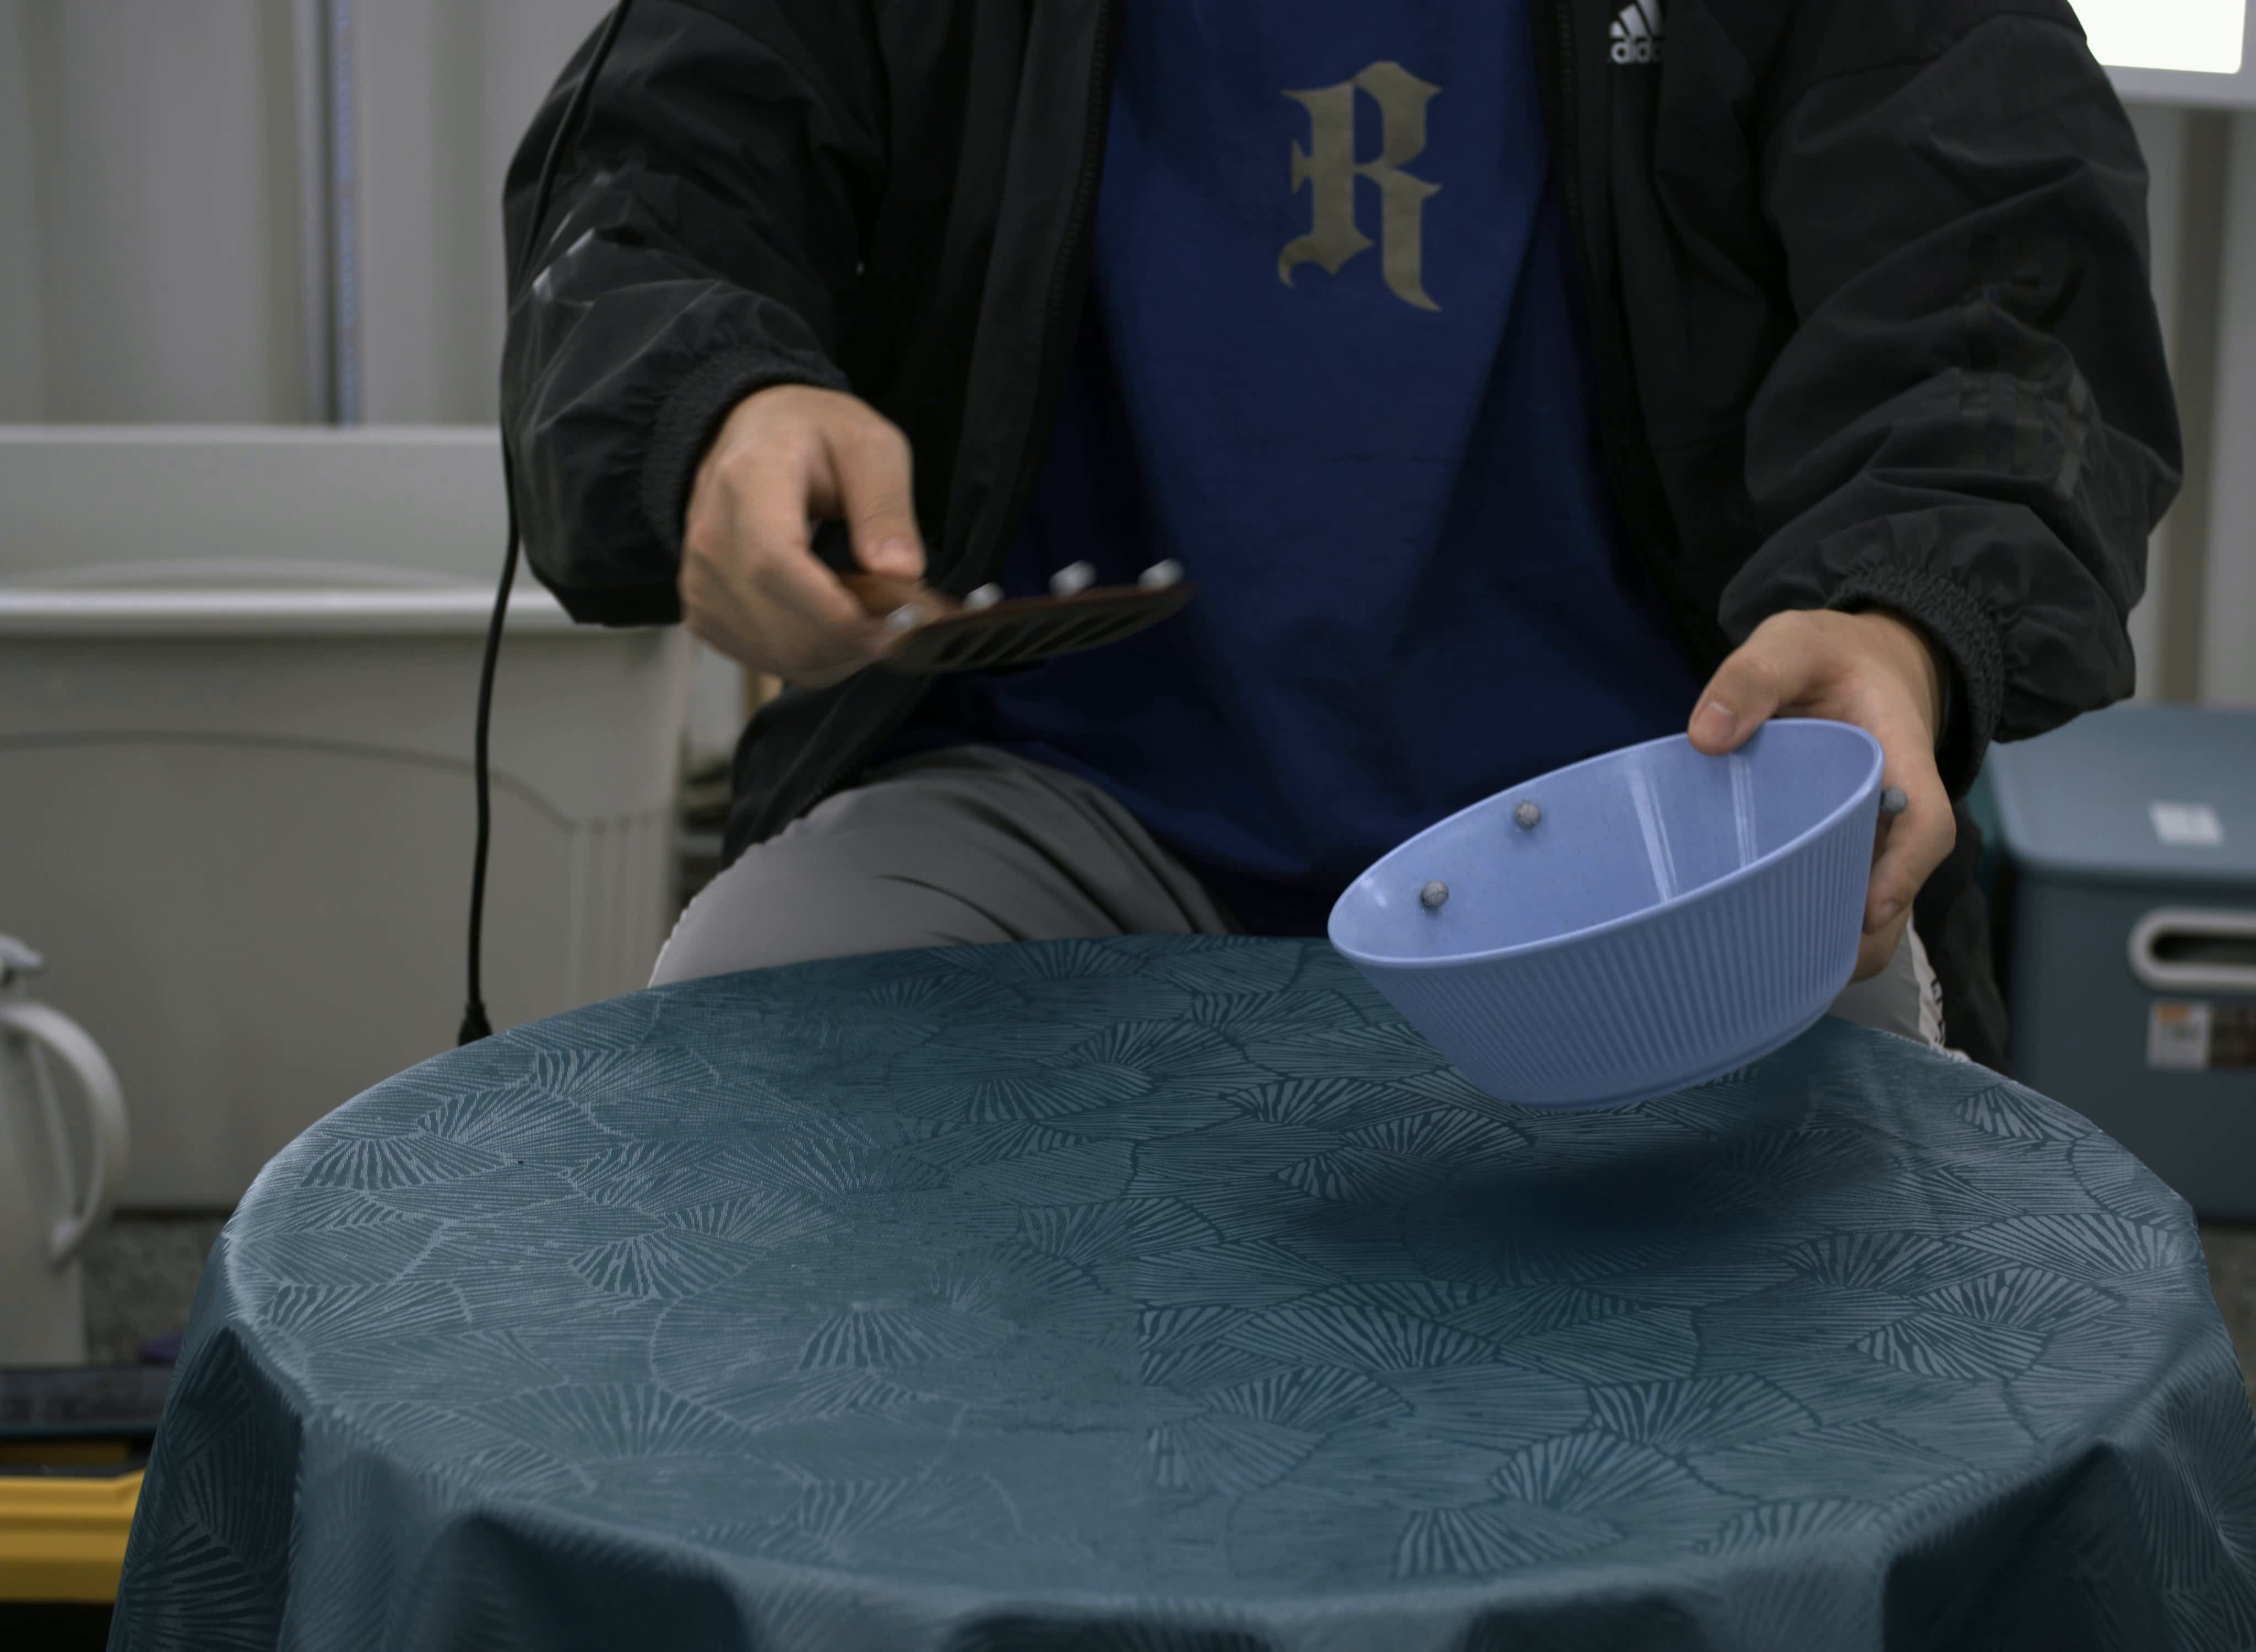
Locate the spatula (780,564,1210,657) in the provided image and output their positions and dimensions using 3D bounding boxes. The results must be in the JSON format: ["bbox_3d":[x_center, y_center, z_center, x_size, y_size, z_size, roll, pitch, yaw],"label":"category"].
[{"bbox_3d":[-0.063,-0.071,1.673,0.085,0.024,0.384,-7,5,-15],"label":"spatula"}]

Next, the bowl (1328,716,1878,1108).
[{"bbox_3d":[0.153,0.031,1.598,0.175,0.071,0.175,-19,14,5],"label":"bowl"}]
